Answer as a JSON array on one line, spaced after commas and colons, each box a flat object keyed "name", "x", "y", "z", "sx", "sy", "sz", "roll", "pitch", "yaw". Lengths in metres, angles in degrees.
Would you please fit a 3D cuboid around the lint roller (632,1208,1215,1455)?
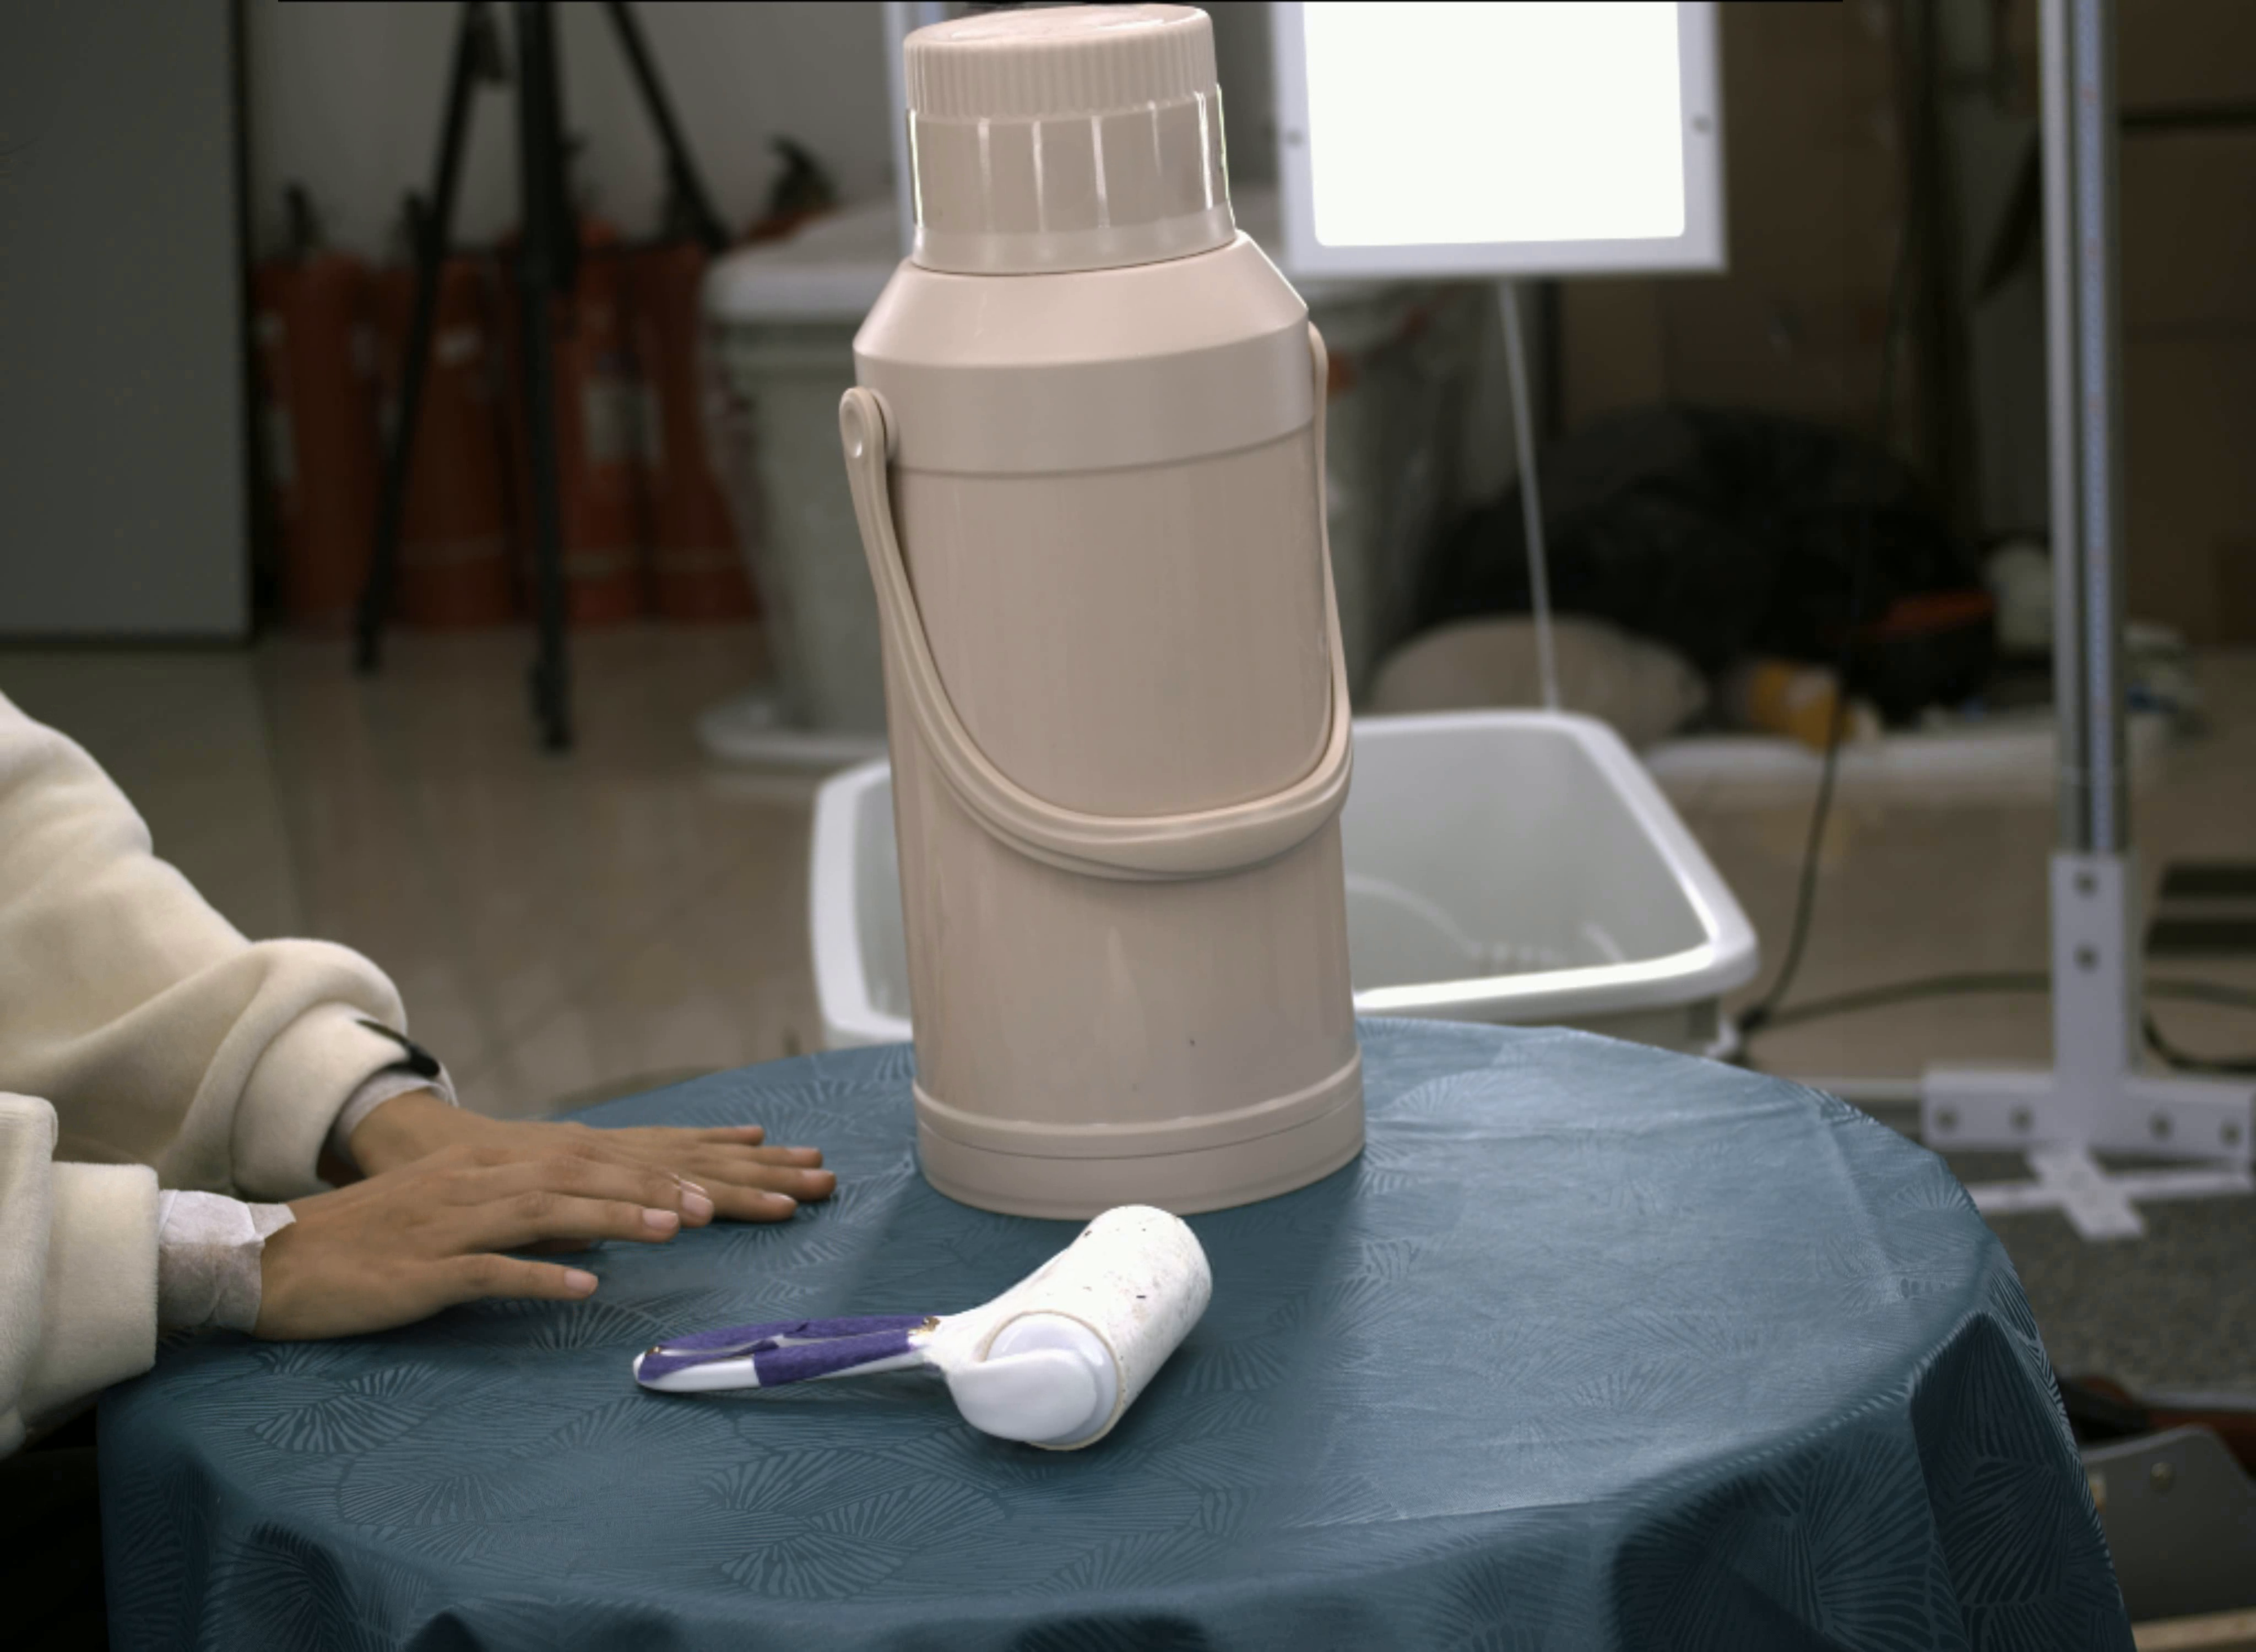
[{"name": "lint roller", "x": -0.070, "y": 0.153, "z": 1.718, "sx": 0.183, "sy": 0.050, "sz": 0.130, "roll": 3, "pitch": 16, "yaw": 20}]

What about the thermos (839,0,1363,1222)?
[{"name": "thermos", "x": -0.014, "y": -0.079, "z": 1.906, "sx": 0.172, "sy": 0.408, "sz": 0.210, "roll": -11, "pitch": 15, "yaw": -24}]
